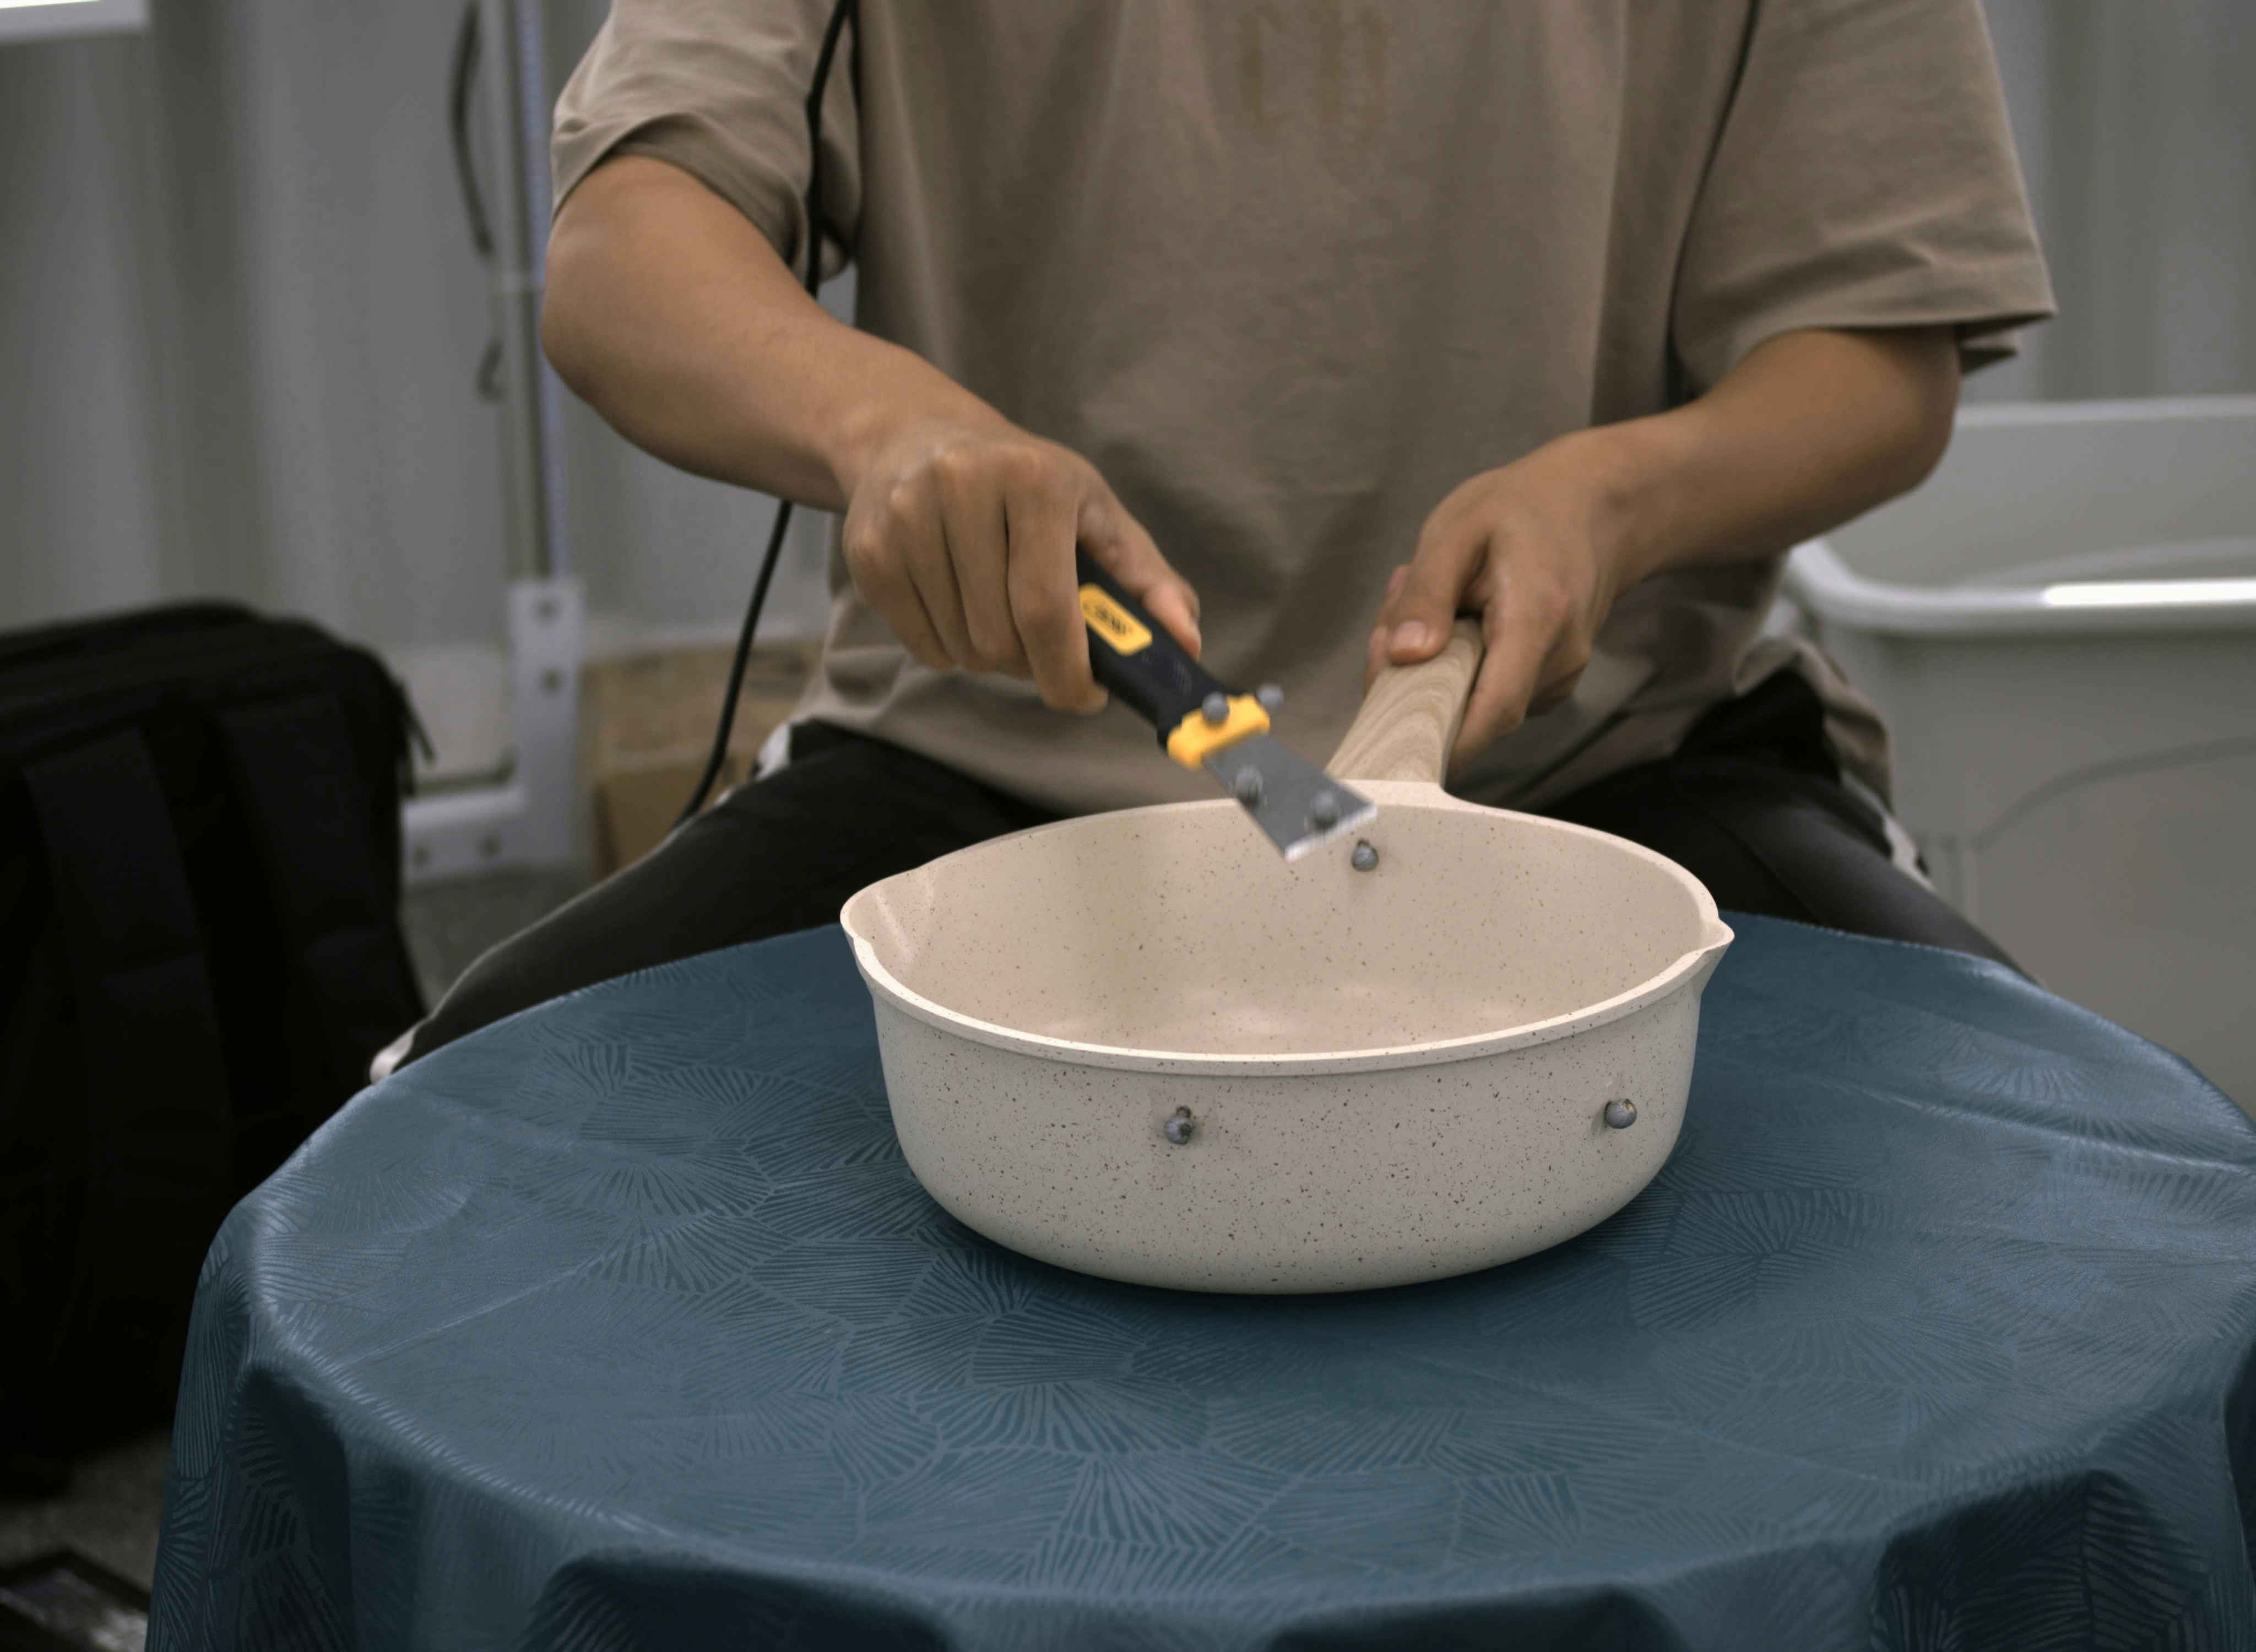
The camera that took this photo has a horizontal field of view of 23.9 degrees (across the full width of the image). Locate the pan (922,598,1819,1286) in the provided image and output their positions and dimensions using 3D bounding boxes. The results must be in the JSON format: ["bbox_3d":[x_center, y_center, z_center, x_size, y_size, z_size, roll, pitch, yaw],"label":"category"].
[{"bbox_3d":[0.091,0.031,1.629,0.265,0.102,0.432,-1,16,14],"label":"pan"}]

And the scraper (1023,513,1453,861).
[{"bbox_3d":[0.027,-0.043,1.561,0.038,0.015,0.175,-32,50,-21],"label":"scraper"}]
